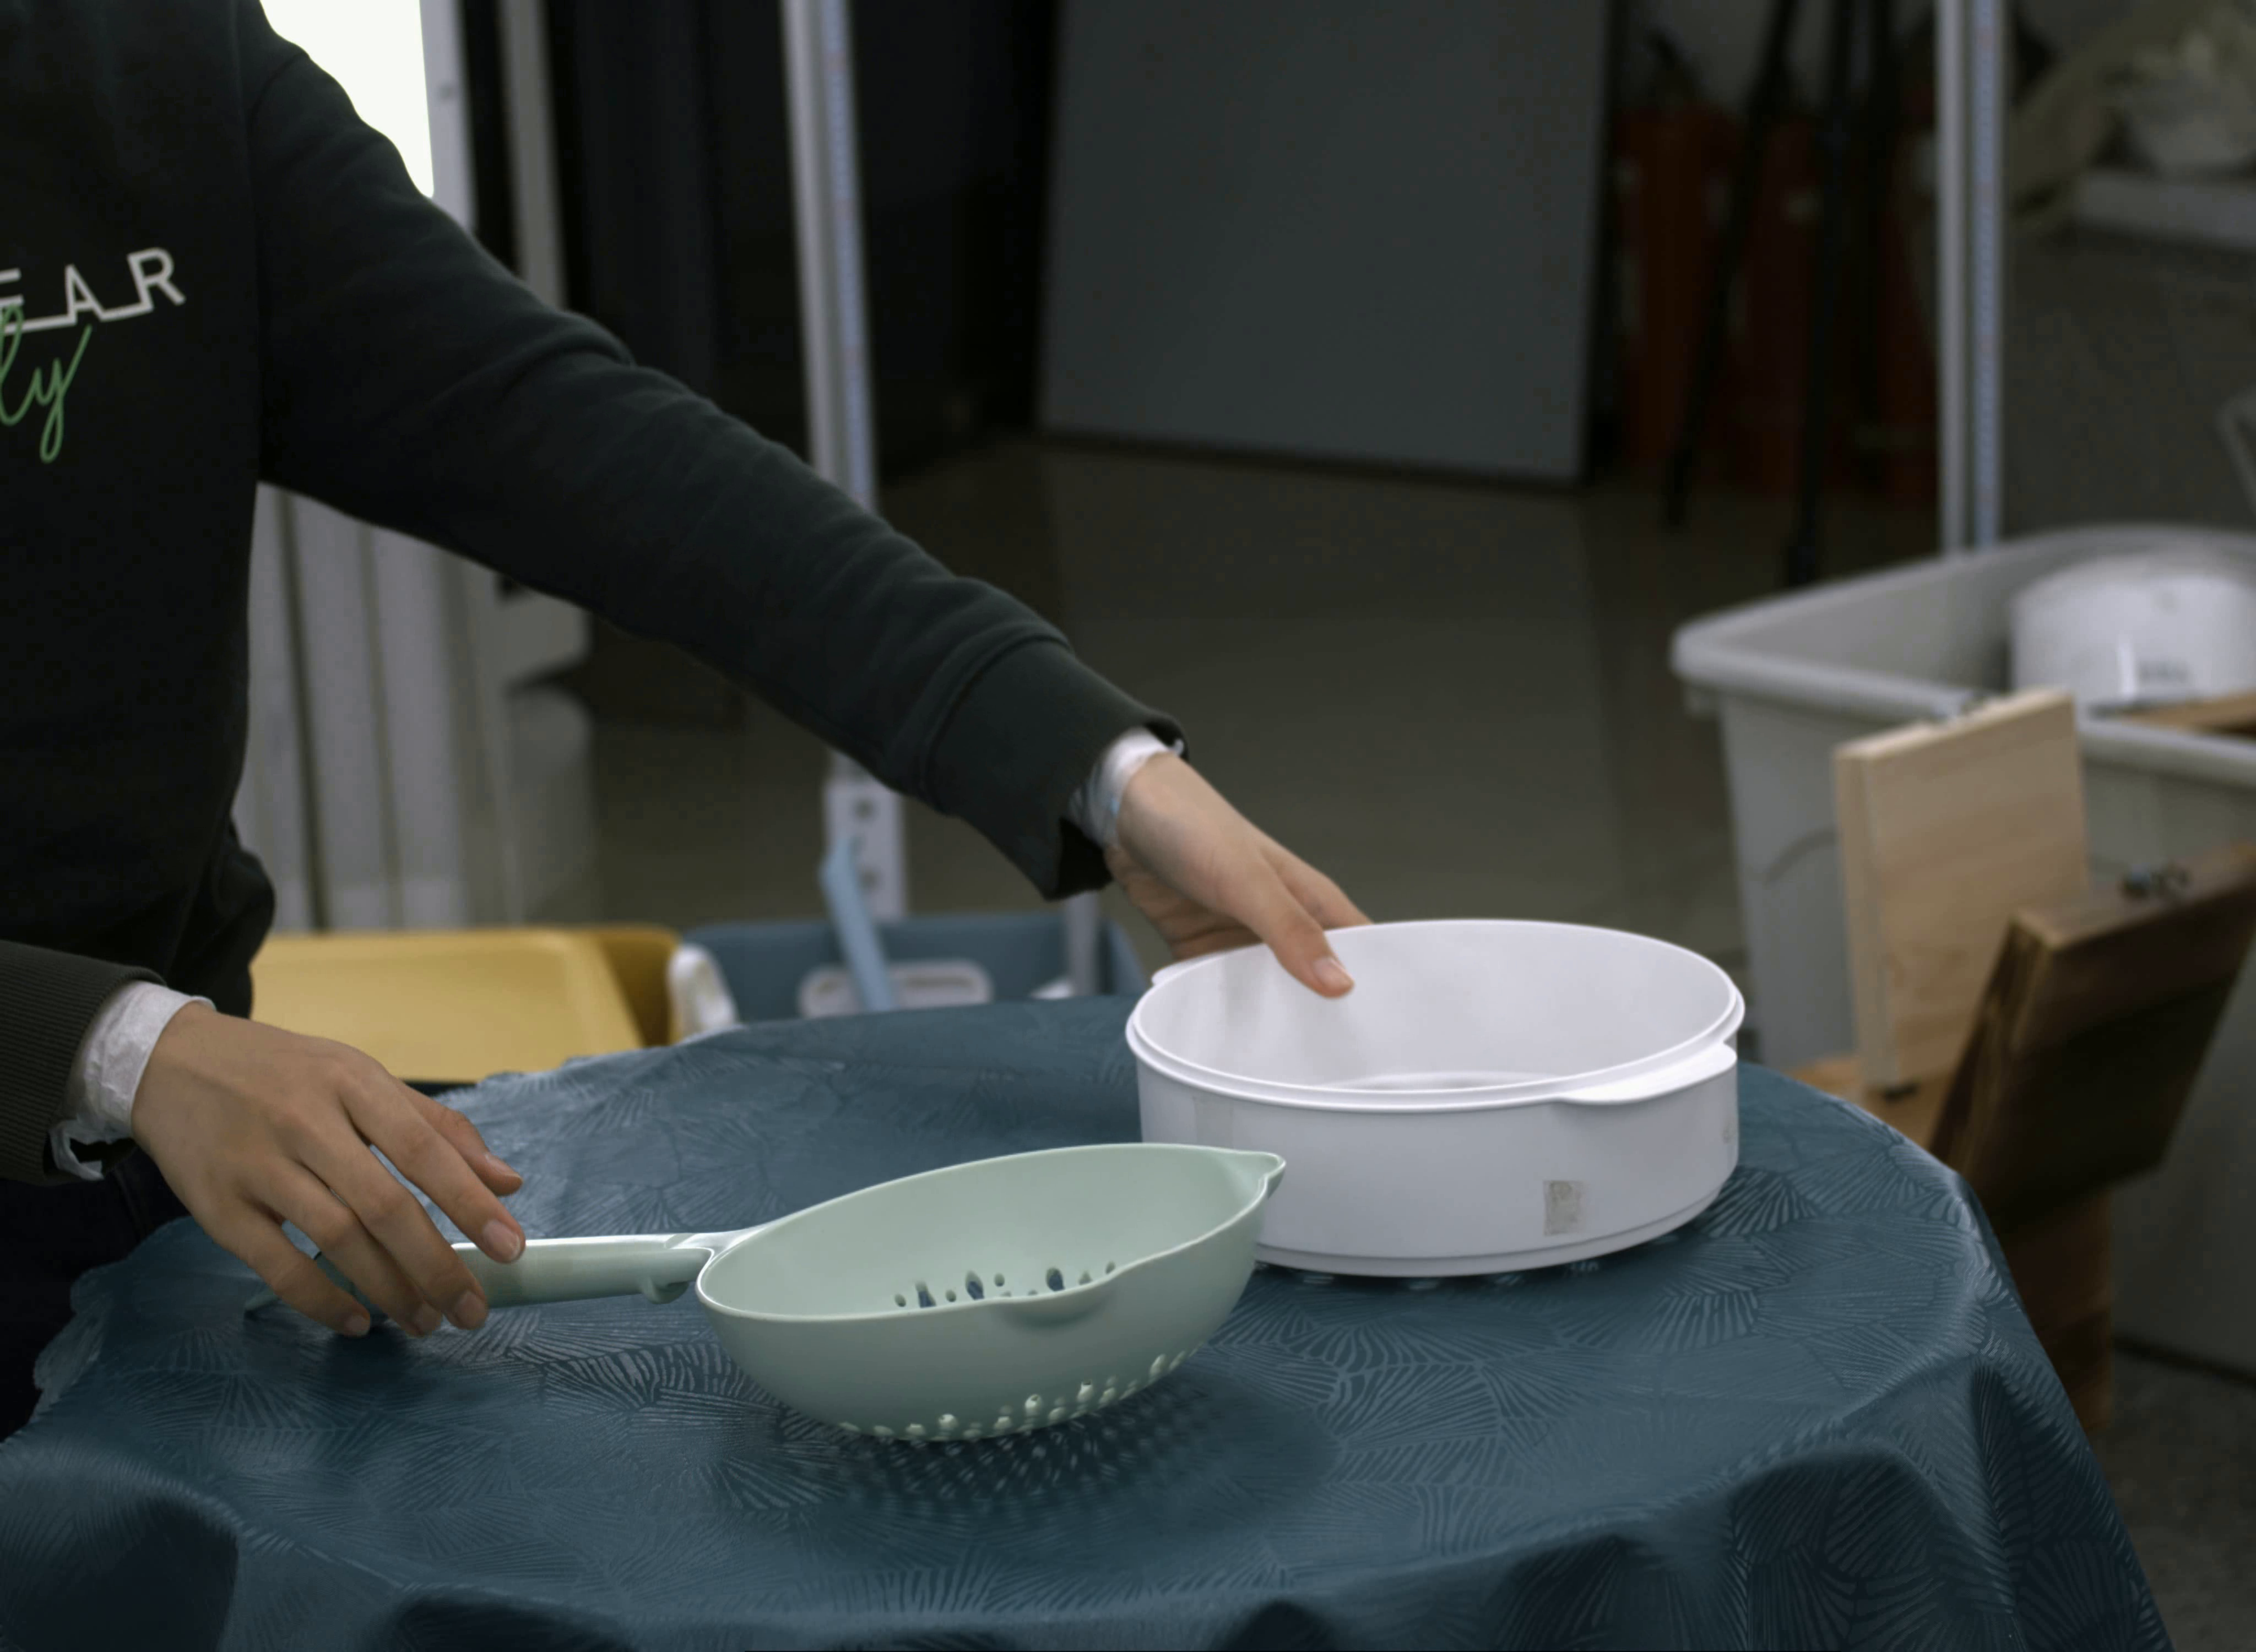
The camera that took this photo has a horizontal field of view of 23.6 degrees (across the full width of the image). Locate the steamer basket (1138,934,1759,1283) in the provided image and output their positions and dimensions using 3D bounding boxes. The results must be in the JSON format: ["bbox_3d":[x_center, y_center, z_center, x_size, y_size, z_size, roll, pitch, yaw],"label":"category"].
[{"bbox_3d":[0.104,0.090,1.731,0.197,0.070,0.233,-14,17,-38],"label":"steamer basket"}]

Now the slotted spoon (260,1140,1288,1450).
[{"bbox_3d":[-0.121,0.137,1.614,0.360,0.076,0.167,4,15,31],"label":"slotted spoon"}]
